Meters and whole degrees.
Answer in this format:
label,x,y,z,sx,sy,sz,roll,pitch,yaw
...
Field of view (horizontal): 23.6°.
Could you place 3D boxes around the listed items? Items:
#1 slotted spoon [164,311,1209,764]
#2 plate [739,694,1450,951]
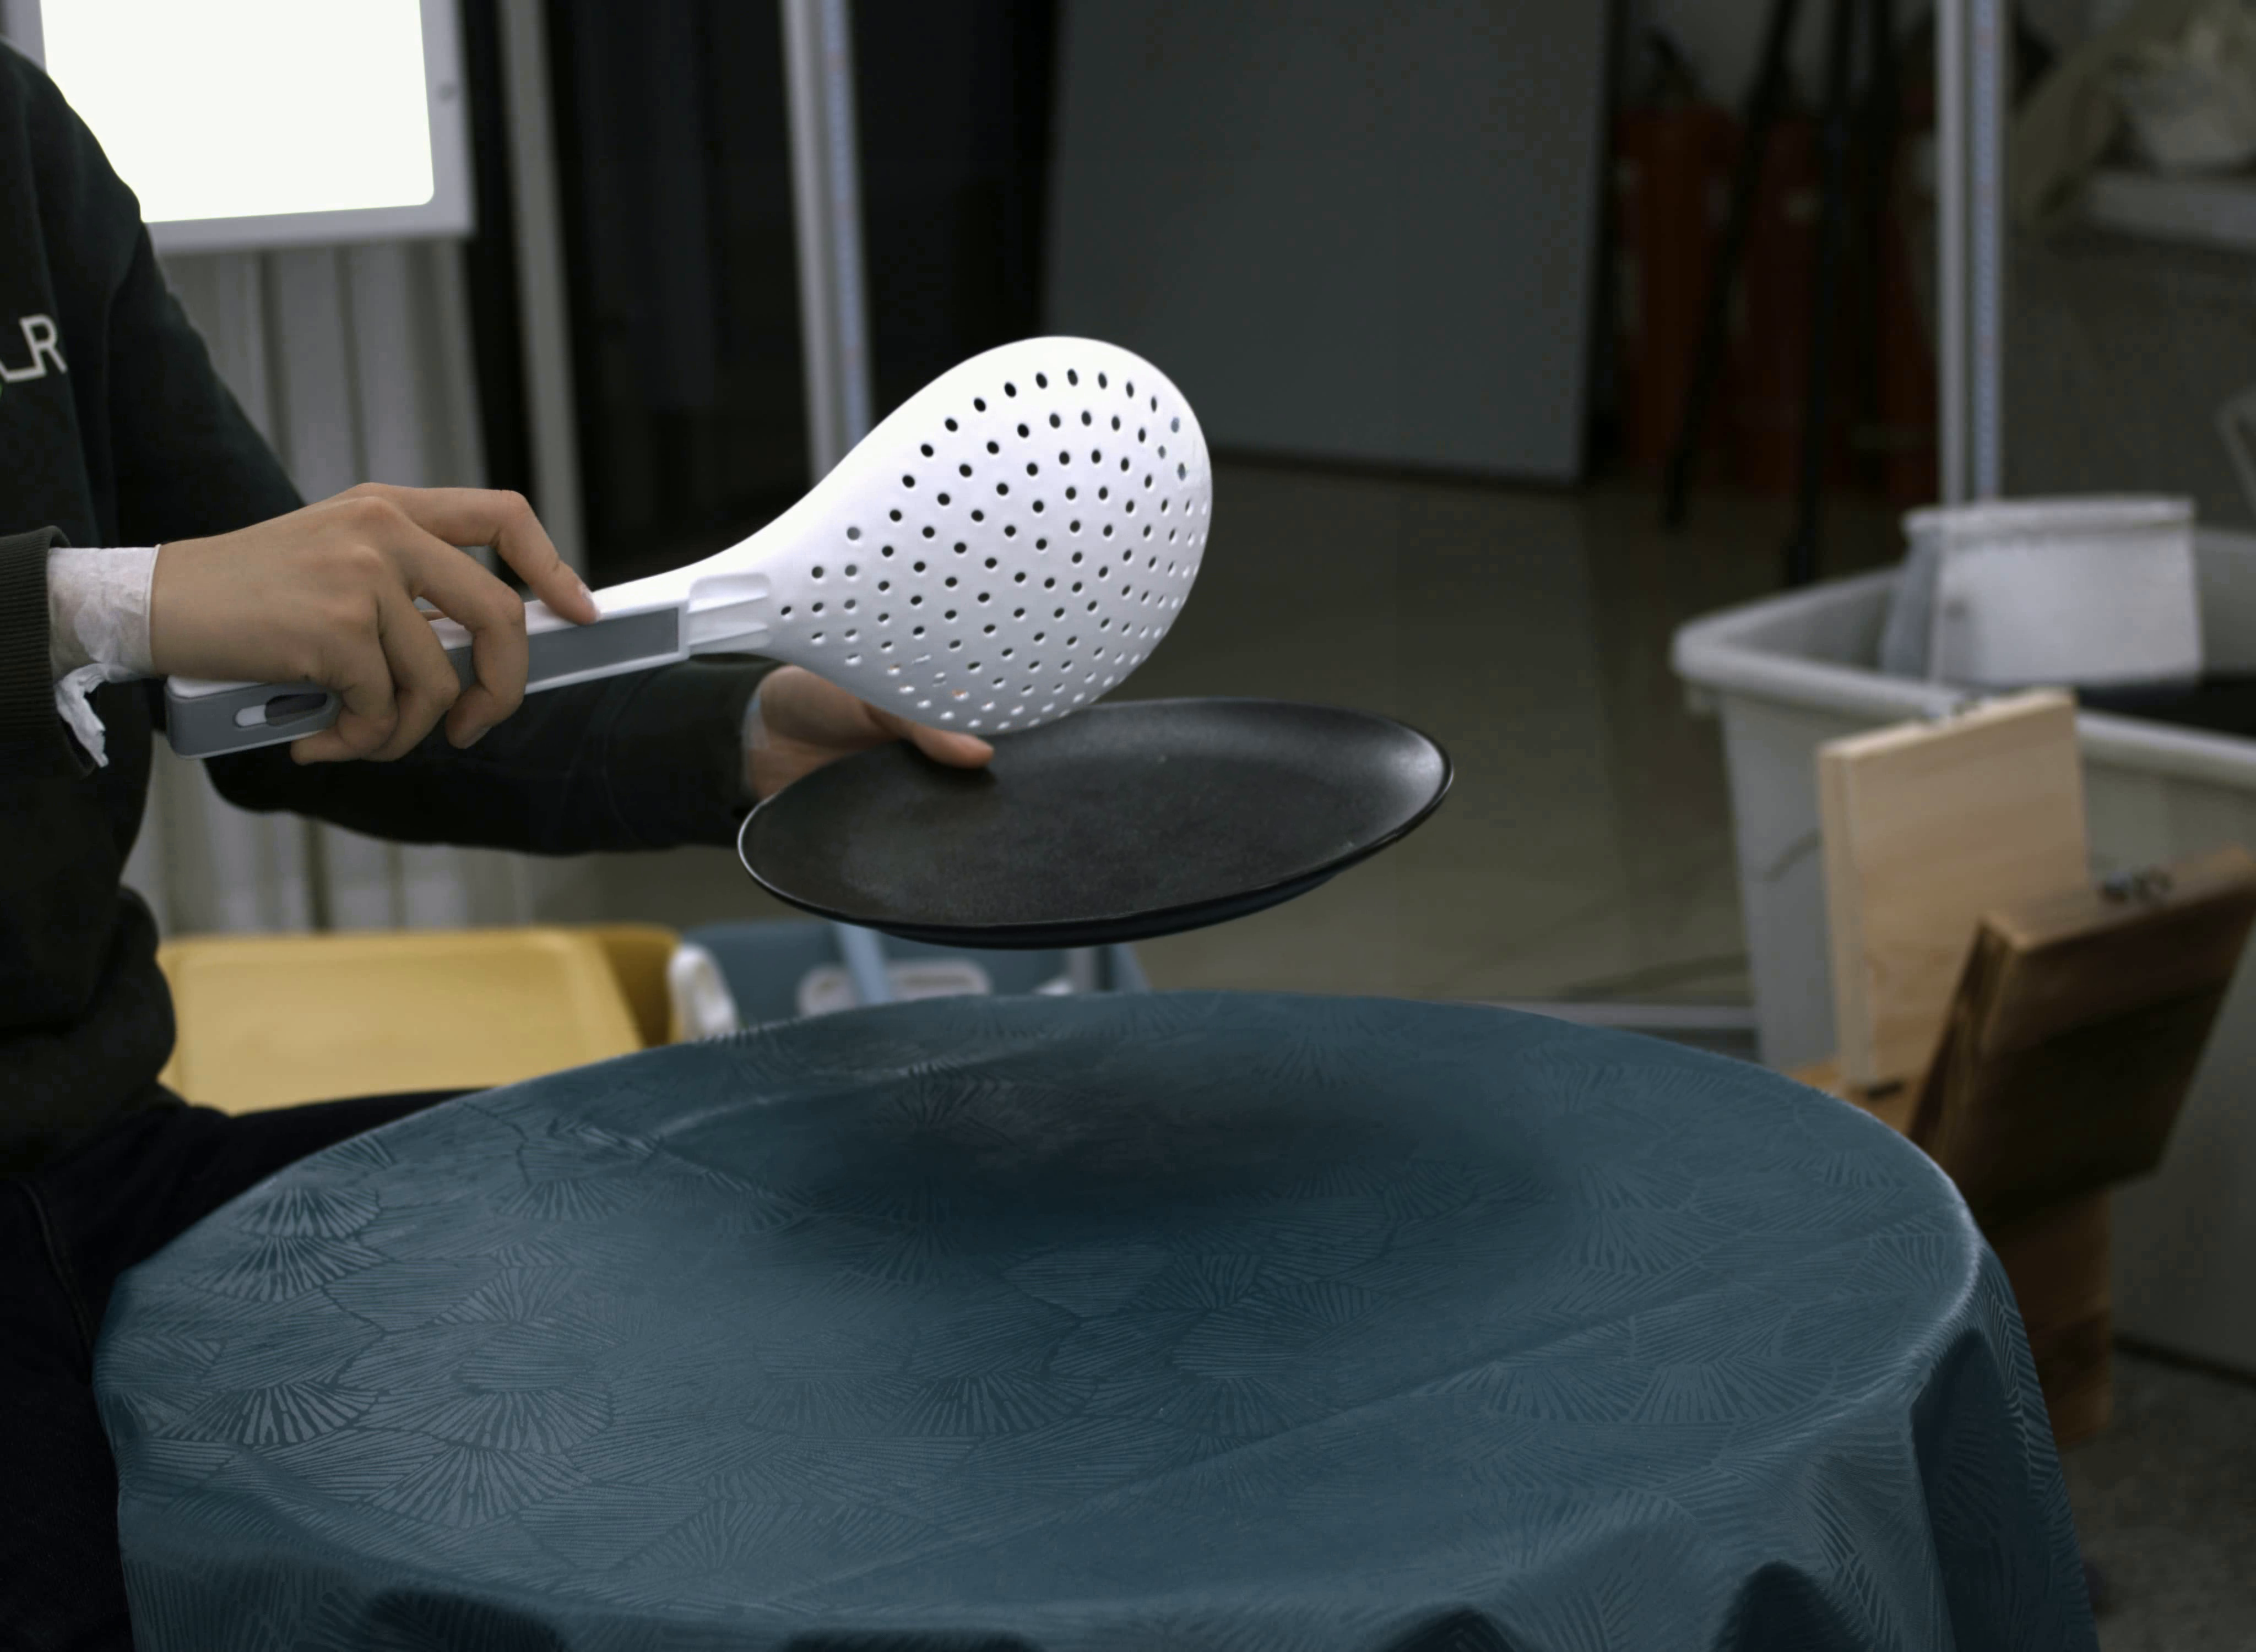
label,x,y,z,sx,sy,sz,roll,pitch,yaw
slotted spoon,-0.125,-0.069,1.640,0.343,0.137,0.046,-11,28,-19
plate,-0.010,0.001,1.812,0.241,0.023,0.245,-7,17,1
